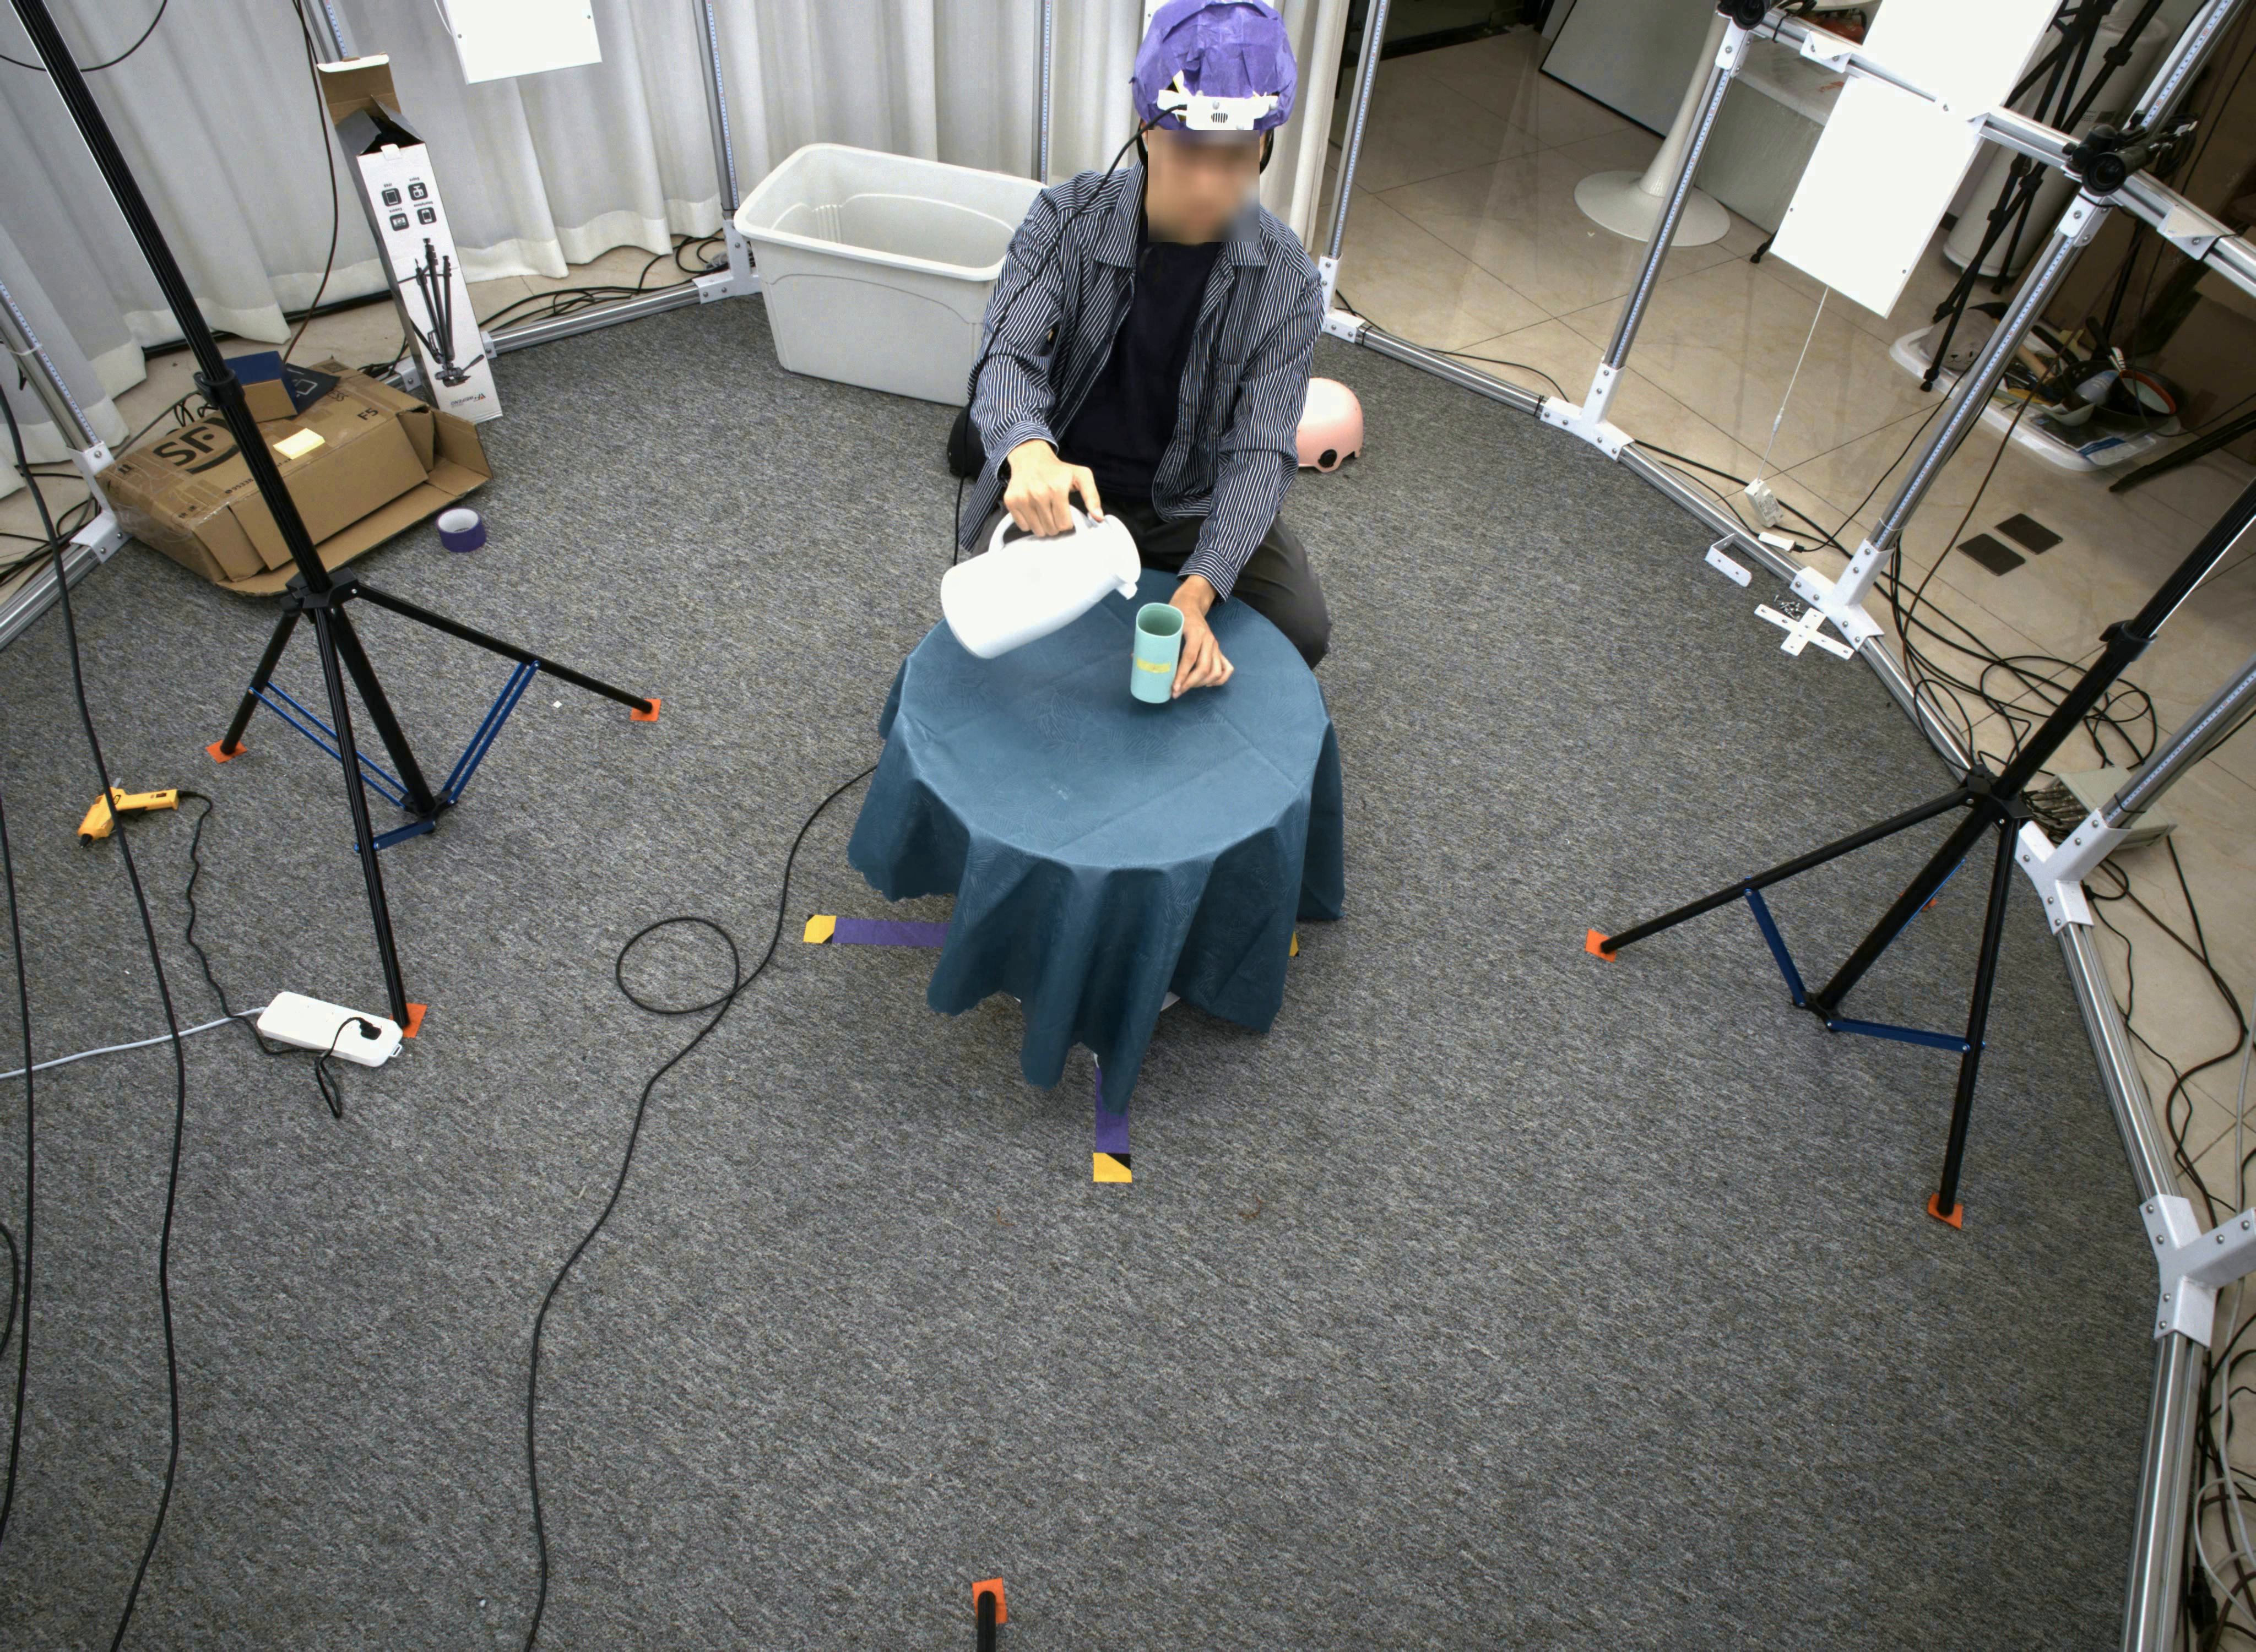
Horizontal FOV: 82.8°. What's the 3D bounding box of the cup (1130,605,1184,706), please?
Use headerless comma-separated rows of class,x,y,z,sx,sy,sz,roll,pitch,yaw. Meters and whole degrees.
cup,0.038,-0.232,1.743,0.066,0.129,0.068,2,51,-3

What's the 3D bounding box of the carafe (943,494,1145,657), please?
carafe,-0.111,-0.334,1.652,0.248,0.164,0.135,-18,32,28
